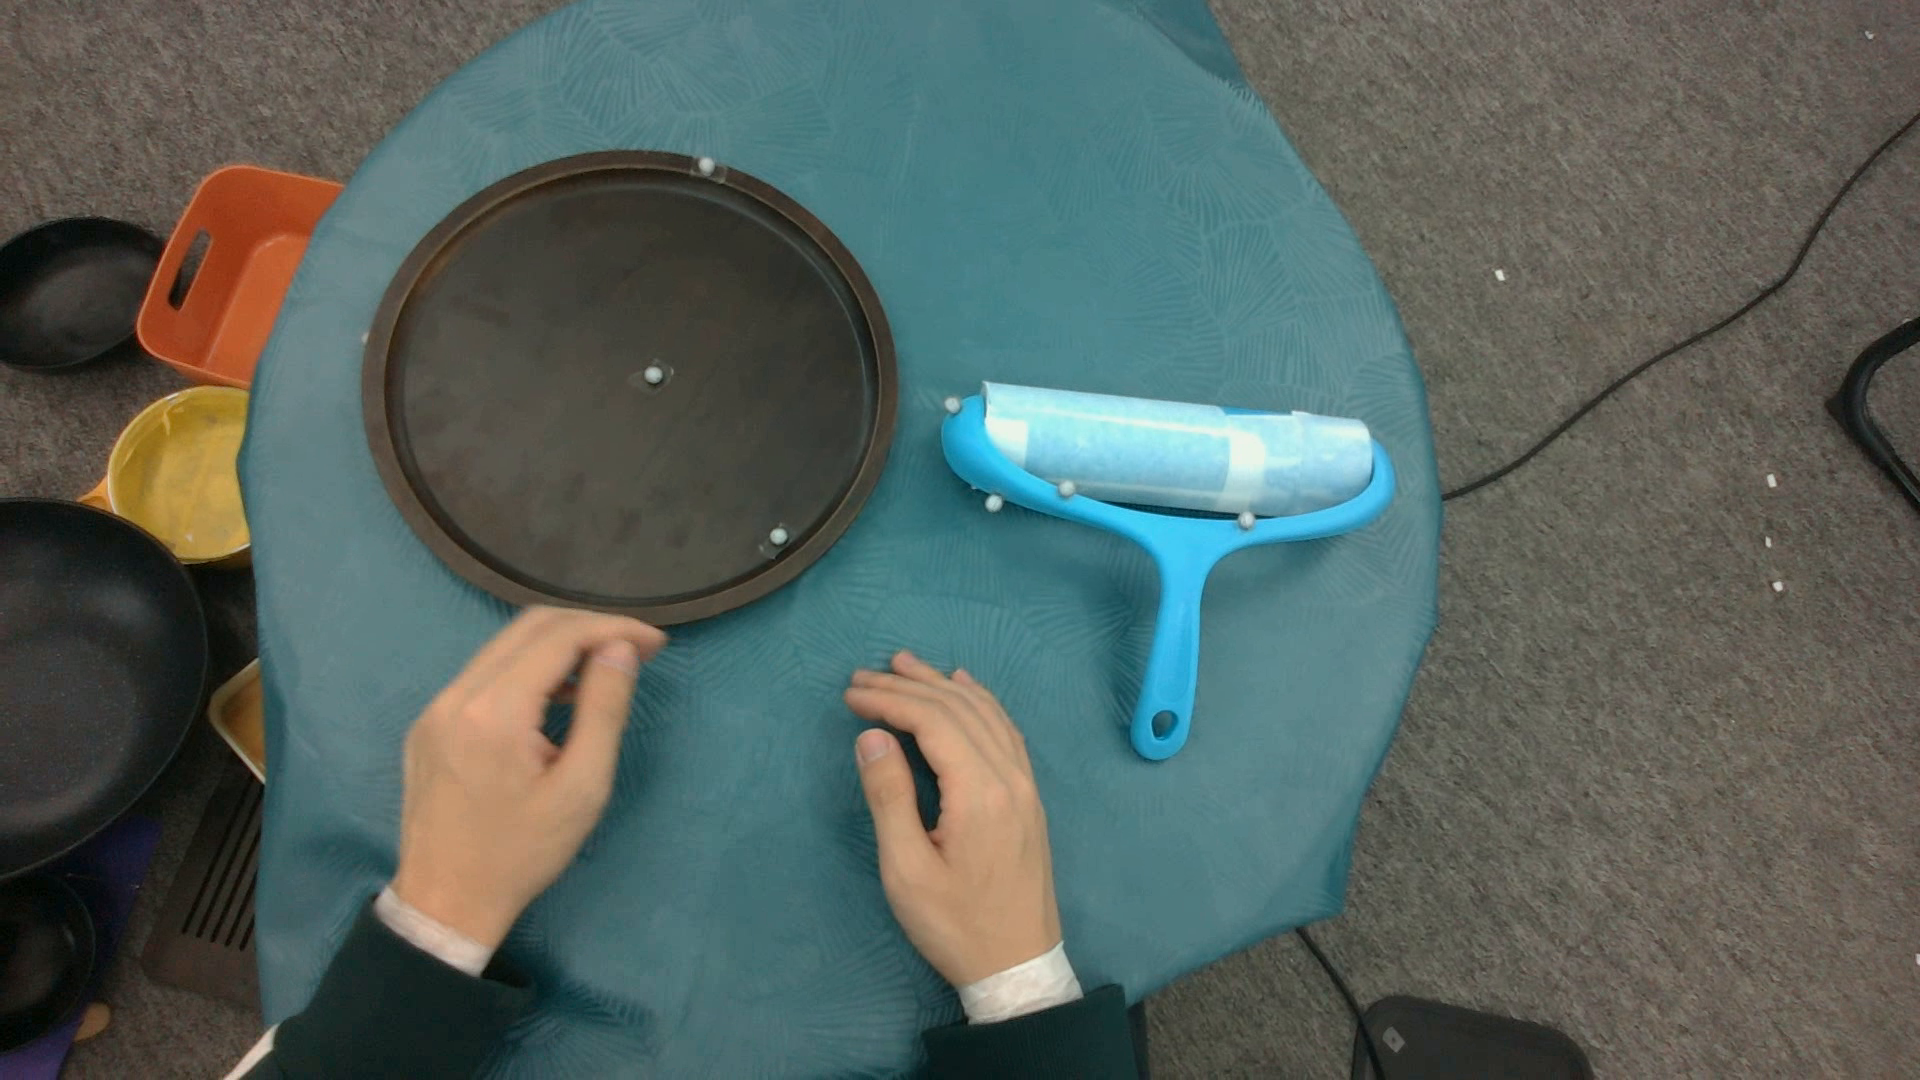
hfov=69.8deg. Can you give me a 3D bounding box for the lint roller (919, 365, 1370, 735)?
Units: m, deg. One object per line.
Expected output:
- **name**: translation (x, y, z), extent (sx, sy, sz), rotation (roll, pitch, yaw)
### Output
- **lint roller**: translation (0.096, 0.000, 0.672), extent (0.229, 0.067, 0.181), rotation (1, 71, -10)

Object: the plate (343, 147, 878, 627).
- **plate**: translation (-0.167, -0.078, 0.676), extent (0.255, 0.029, 0.255), rotation (3, 70, -7)
